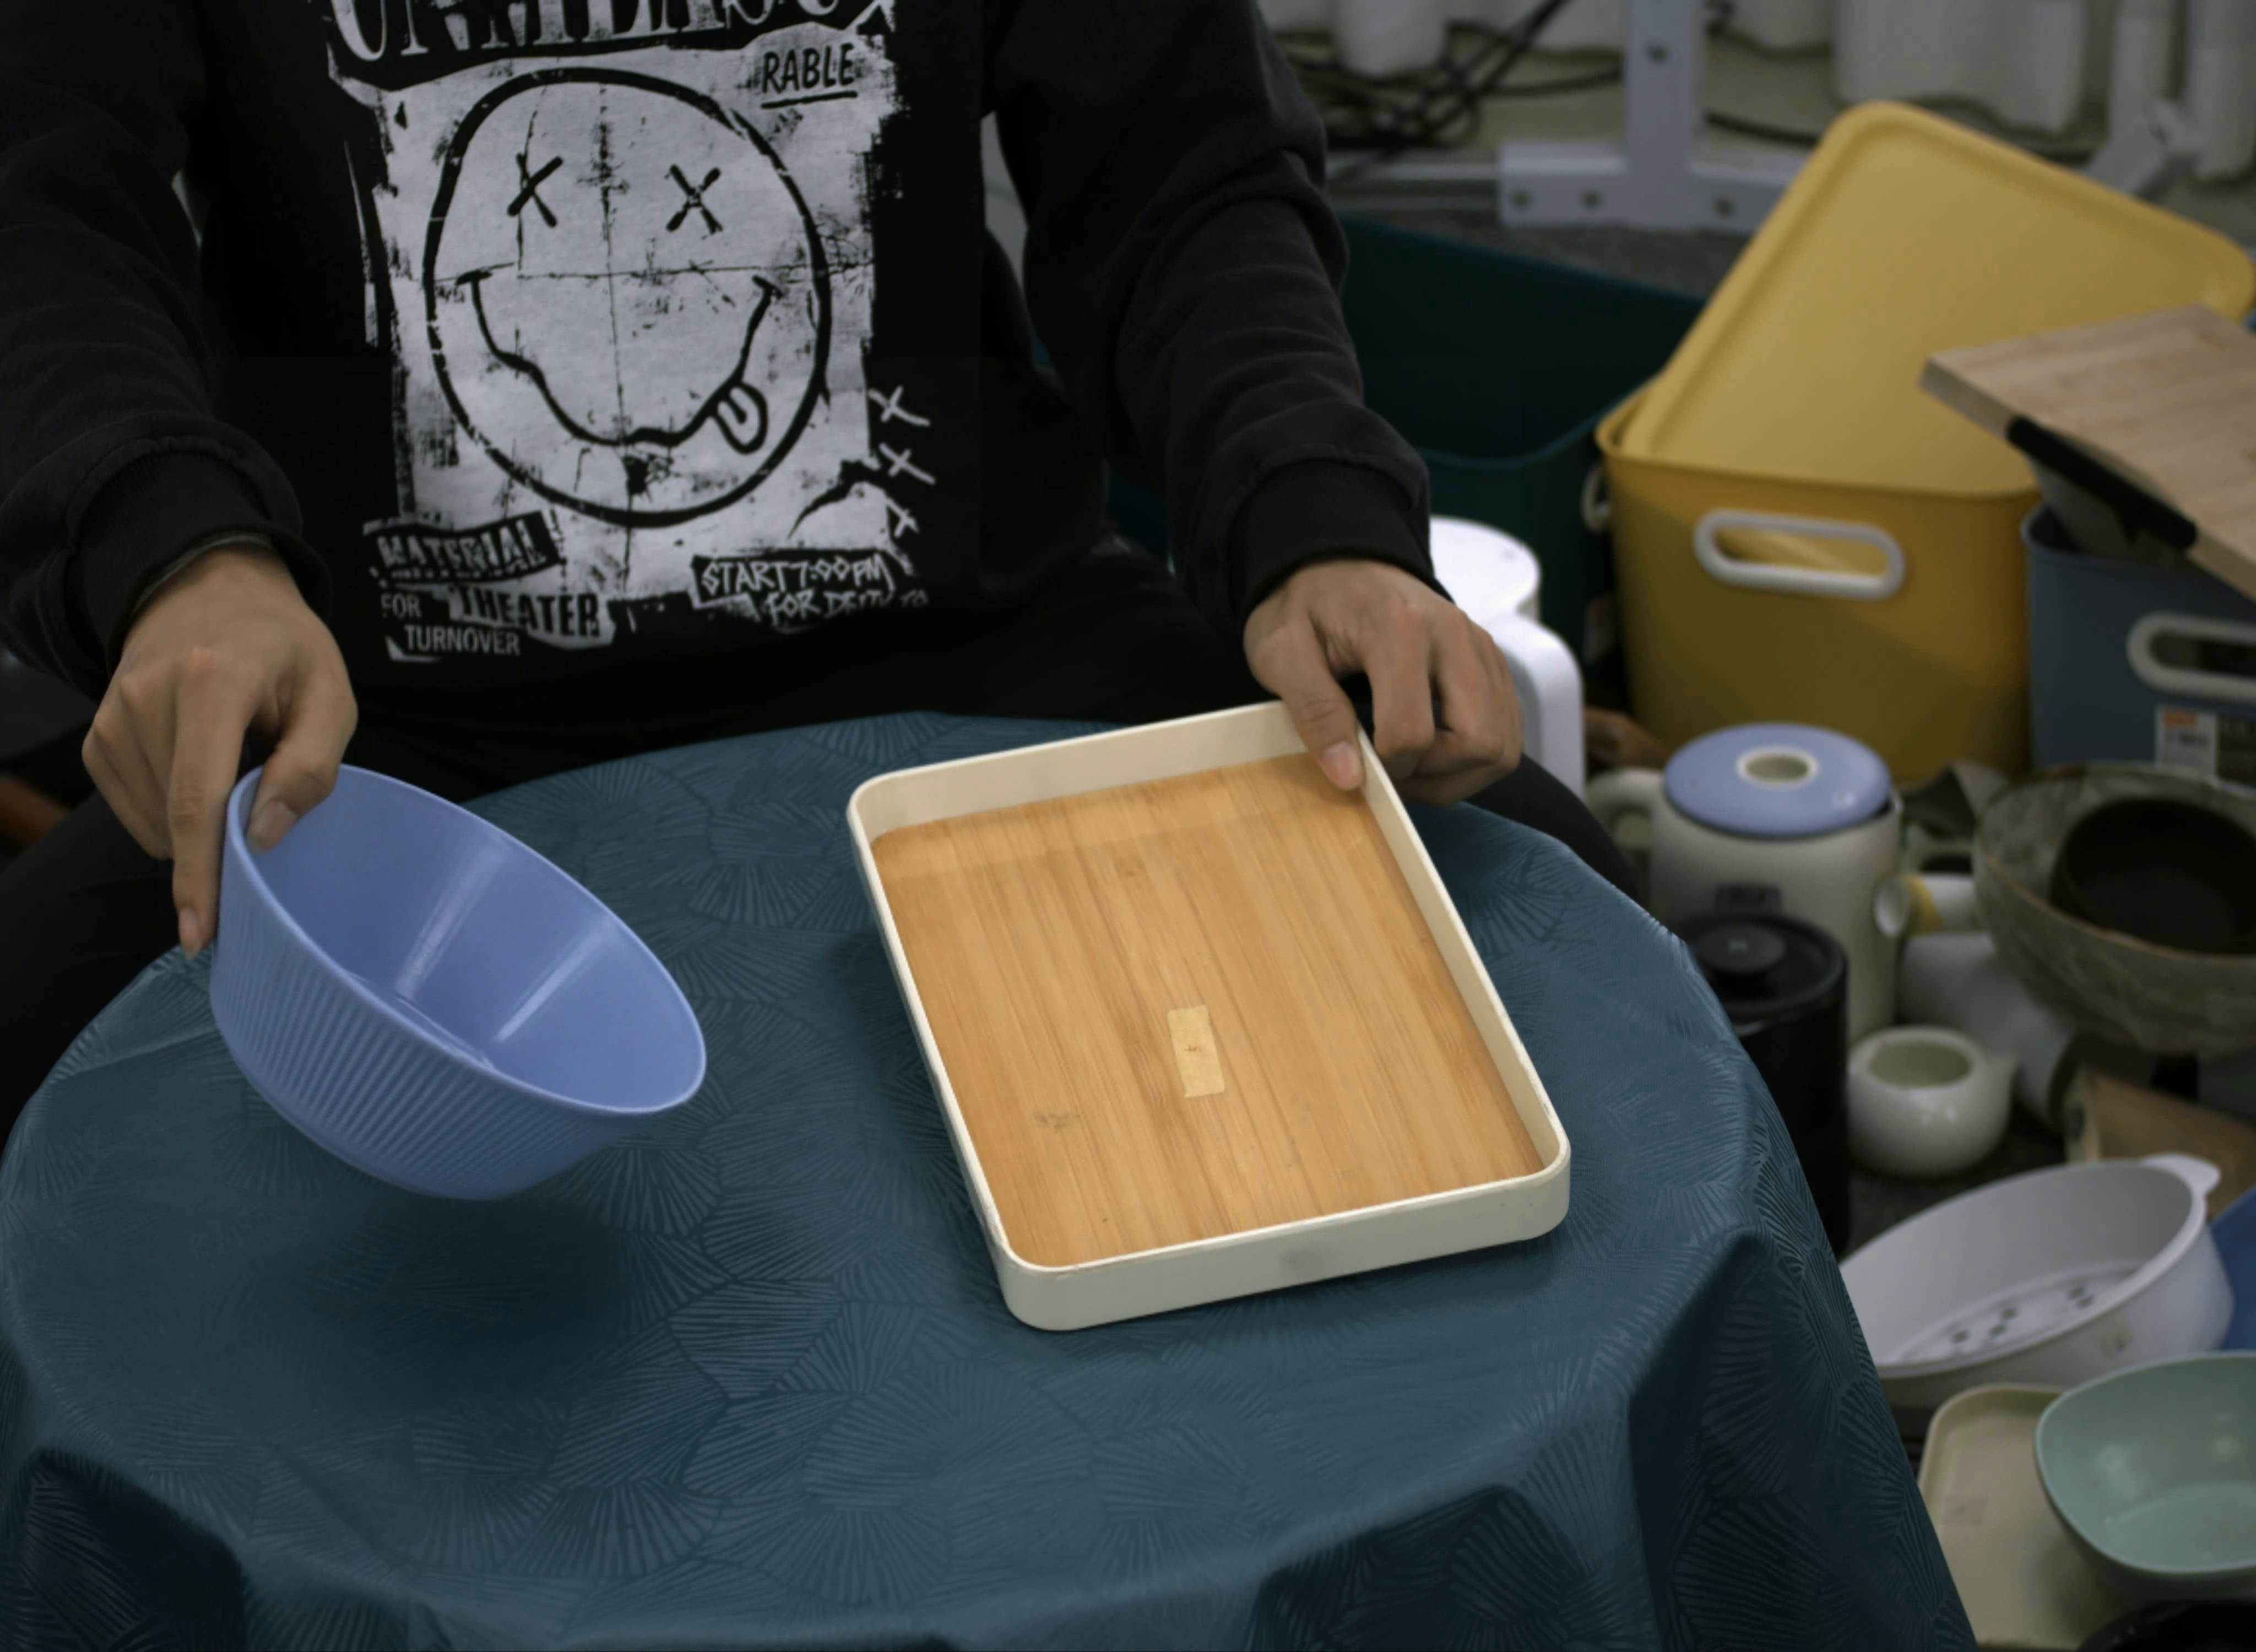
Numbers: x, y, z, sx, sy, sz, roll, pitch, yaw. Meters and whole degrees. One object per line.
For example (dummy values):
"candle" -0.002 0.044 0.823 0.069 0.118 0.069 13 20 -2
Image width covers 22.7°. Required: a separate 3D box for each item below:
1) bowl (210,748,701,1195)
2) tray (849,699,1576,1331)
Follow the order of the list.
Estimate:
"bowl" -0.226 0.056 1.794 0.175 0.069 0.178 34 17 -11
"tray" 0.023 0.058 1.915 0.191 0.027 0.304 -10 34 -9
